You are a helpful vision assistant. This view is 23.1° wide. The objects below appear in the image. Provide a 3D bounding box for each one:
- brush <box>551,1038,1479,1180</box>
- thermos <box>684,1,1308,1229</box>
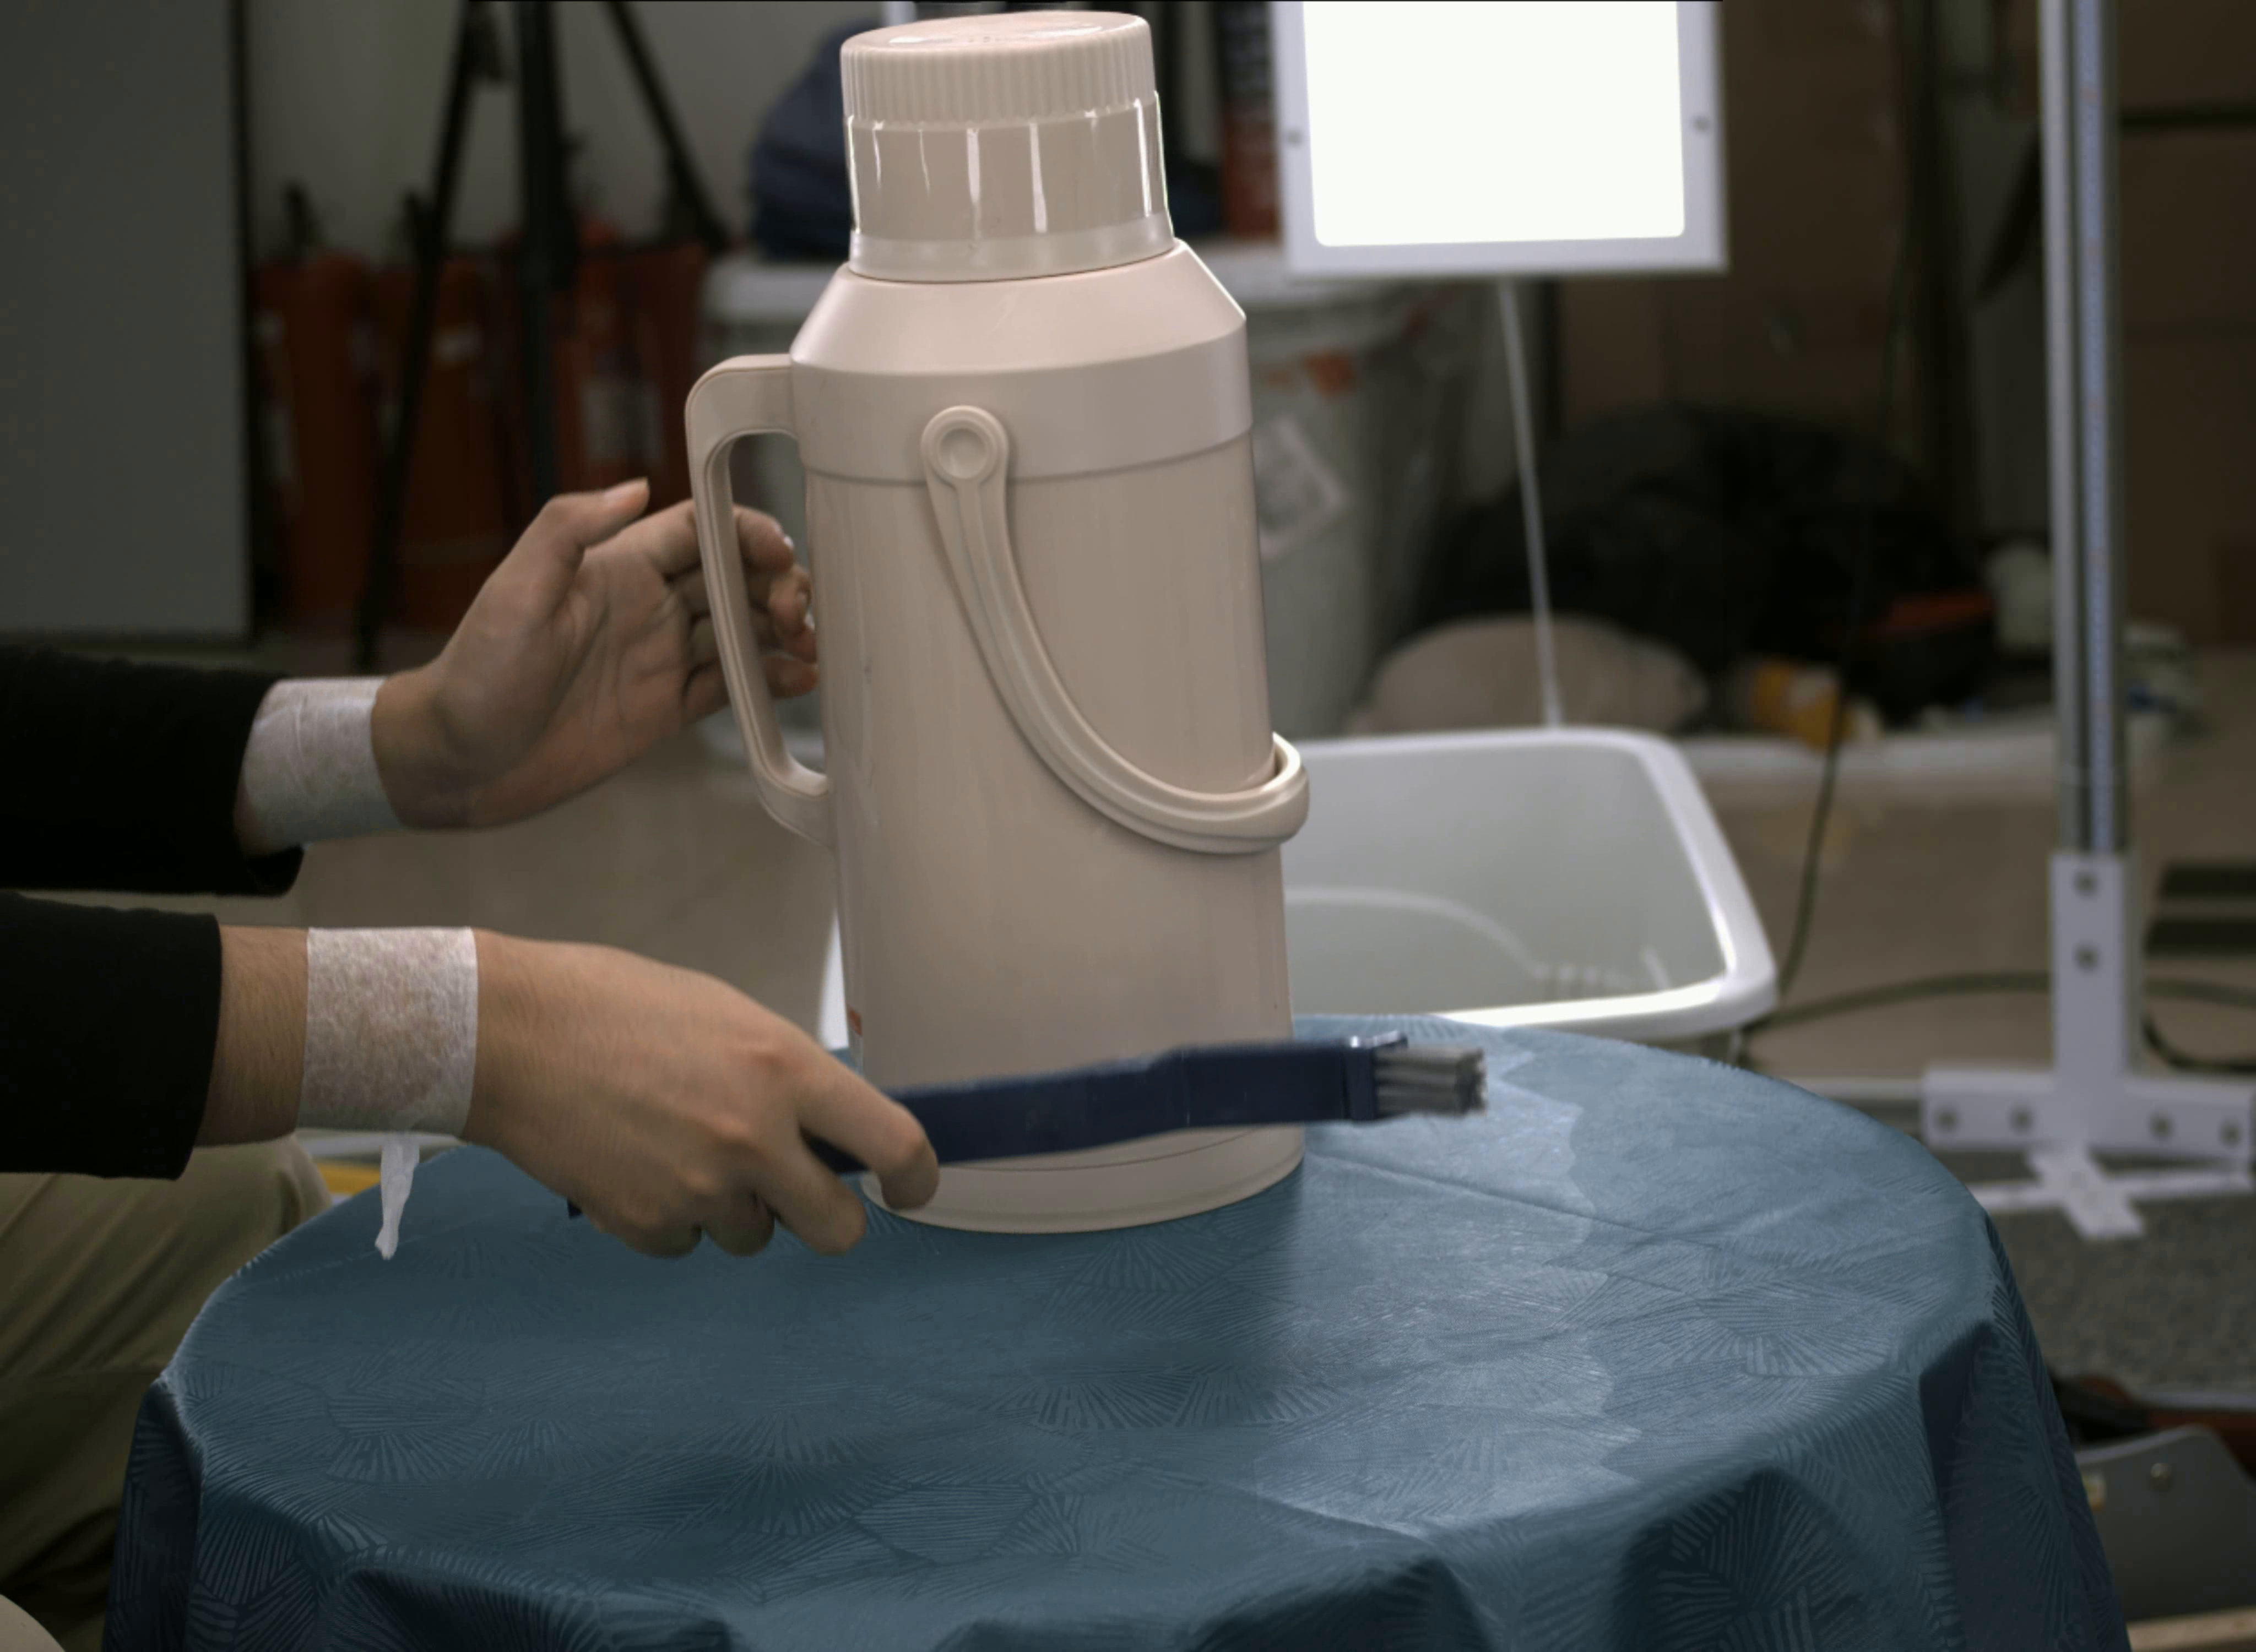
[{"bbox_3d":[-0.036,0.083,1.674,0.269,0.033,0.096,-6,9,-13],"label":"brush"},{"bbox_3d":[-0.044,-0.073,1.895,0.209,0.408,0.173,-1,16,13],"label":"thermos"}]
